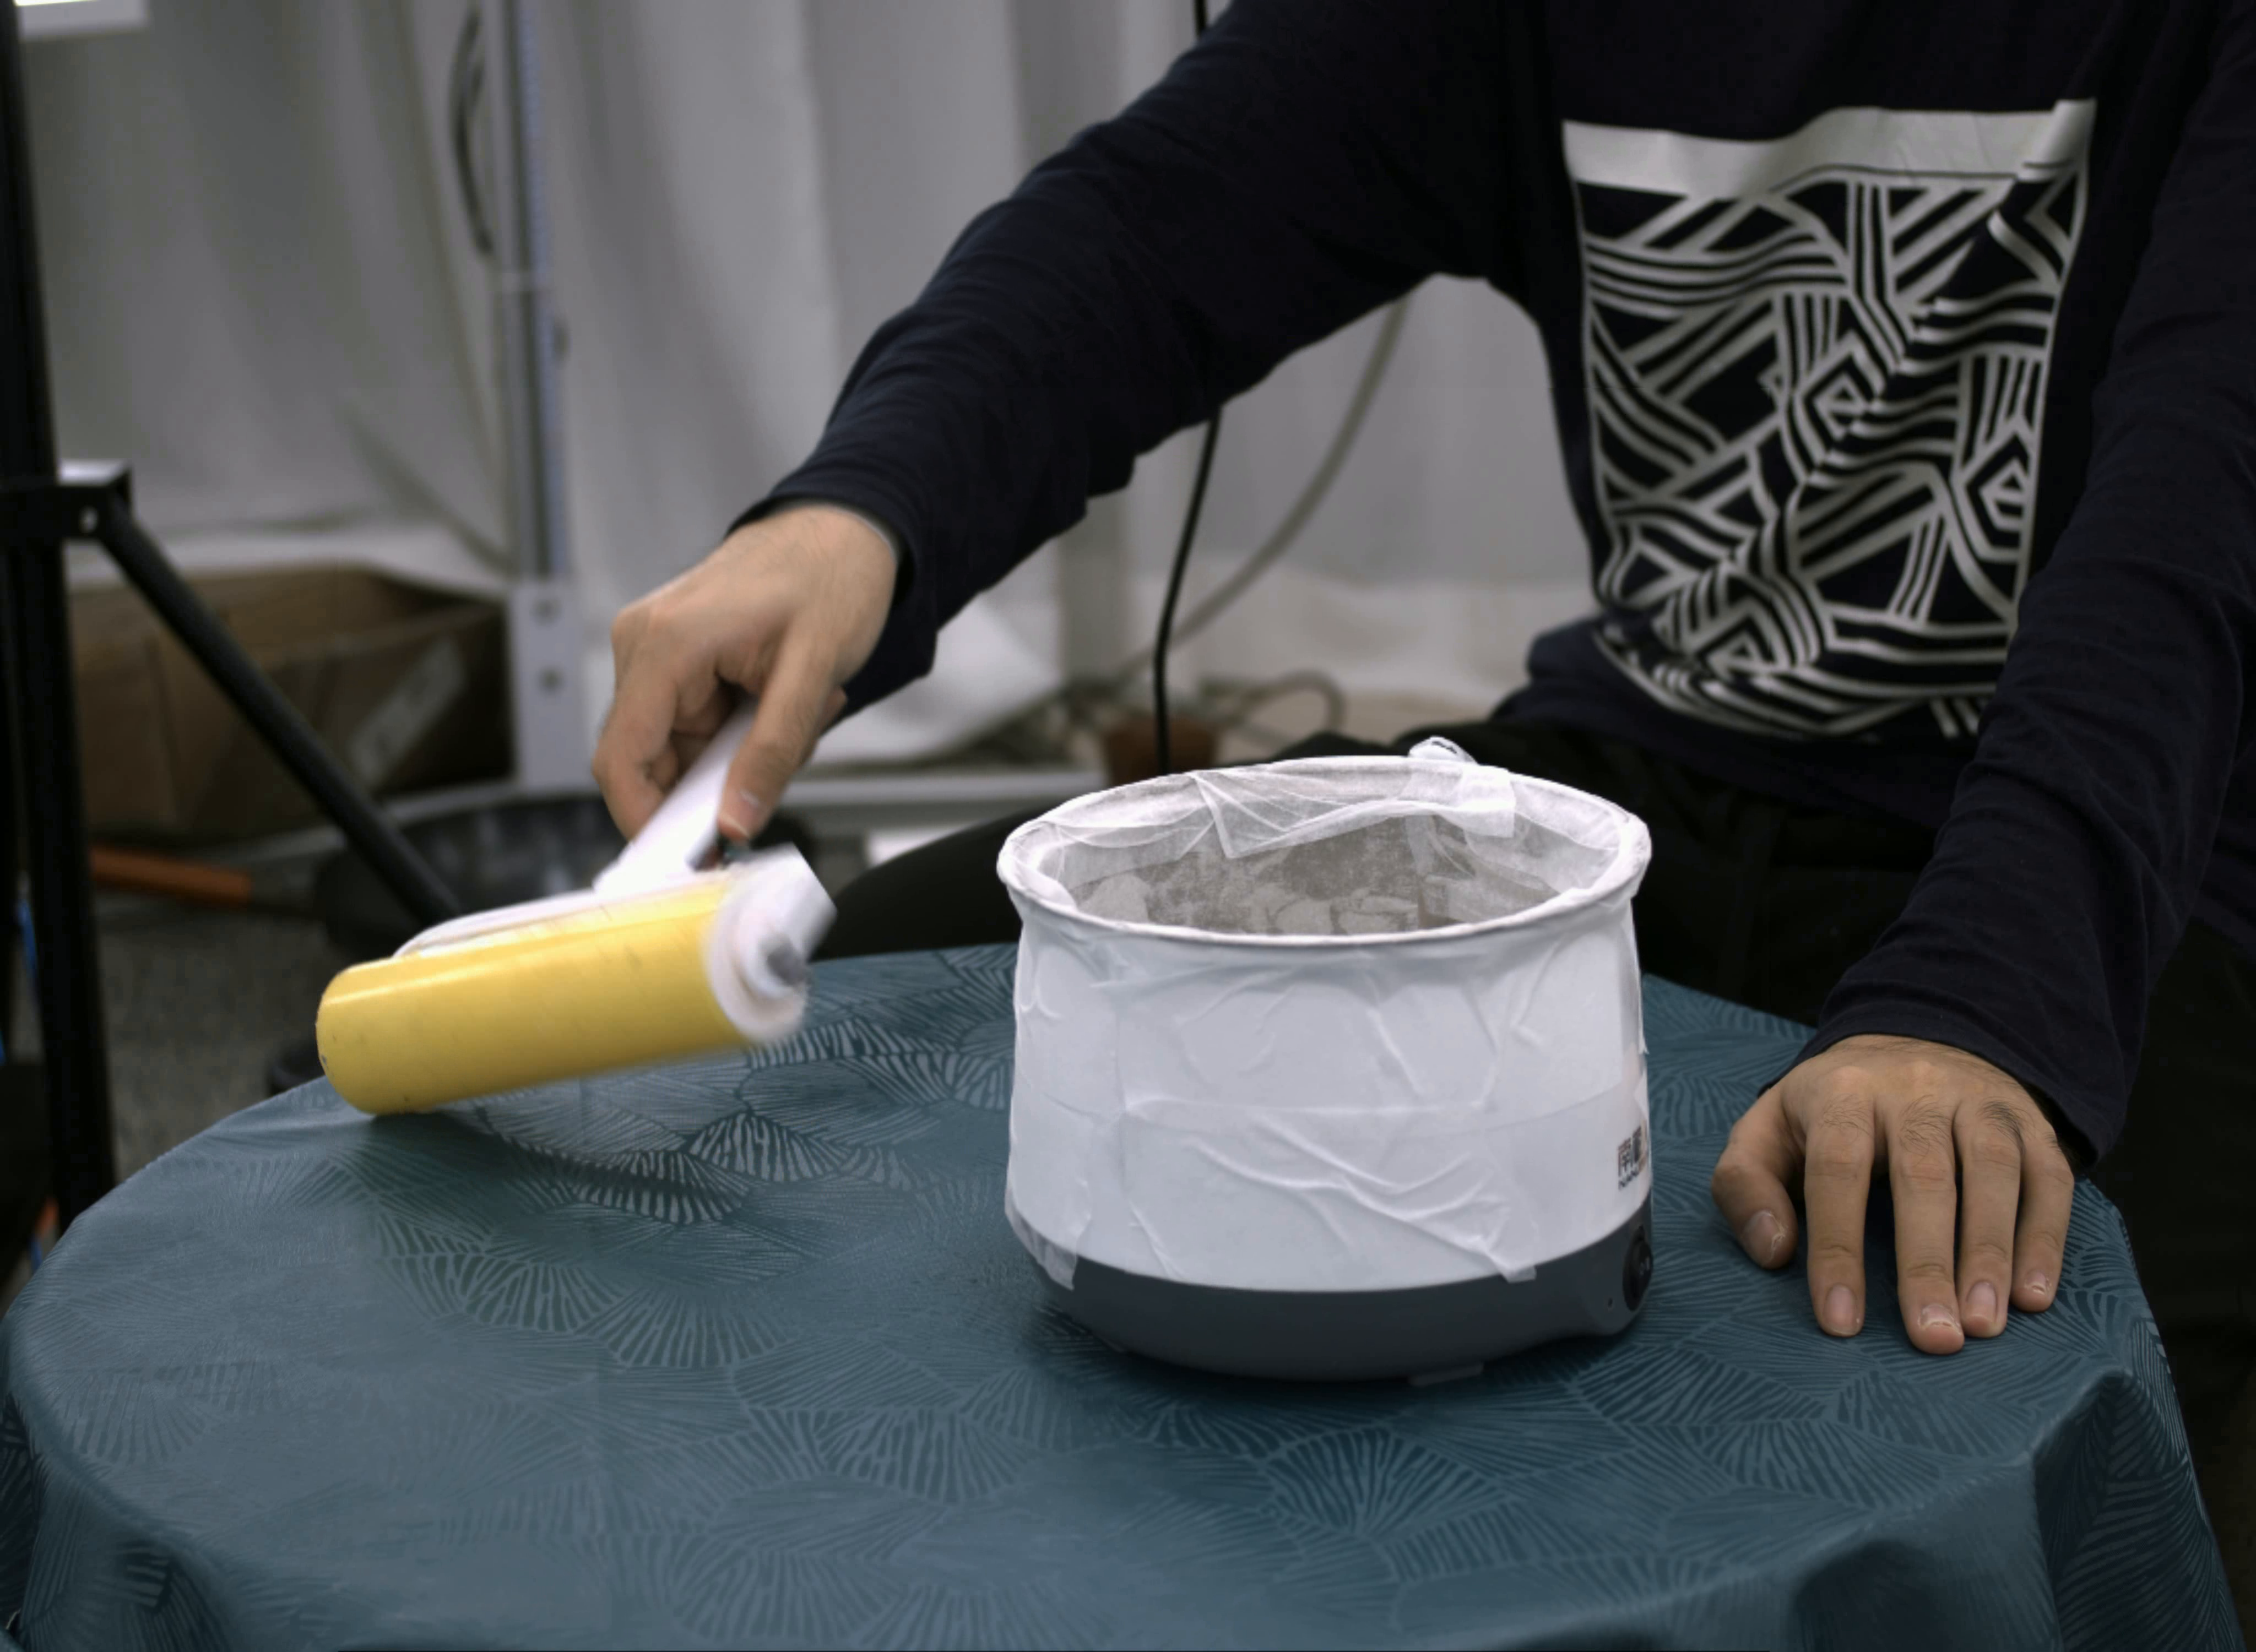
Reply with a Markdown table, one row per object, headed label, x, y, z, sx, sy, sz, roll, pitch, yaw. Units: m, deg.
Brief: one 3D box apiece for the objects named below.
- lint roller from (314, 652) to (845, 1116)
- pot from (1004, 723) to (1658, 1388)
| label | x | y | z | sx | sy | sz | roll | pitch | yaw |
| --- | --- | --- | --- | --- | --- | --- | --- | --- | --- |
| lint roller | -0.146 | 0.005 | 1.636 | 0.177 | 0.050 | 0.192 | -9 | 44 | 34 |
| pot | 0.064 | 0.057 | 1.474 | 0.181 | 0.136 | 0.231 | 5 | 18 | 20 |
